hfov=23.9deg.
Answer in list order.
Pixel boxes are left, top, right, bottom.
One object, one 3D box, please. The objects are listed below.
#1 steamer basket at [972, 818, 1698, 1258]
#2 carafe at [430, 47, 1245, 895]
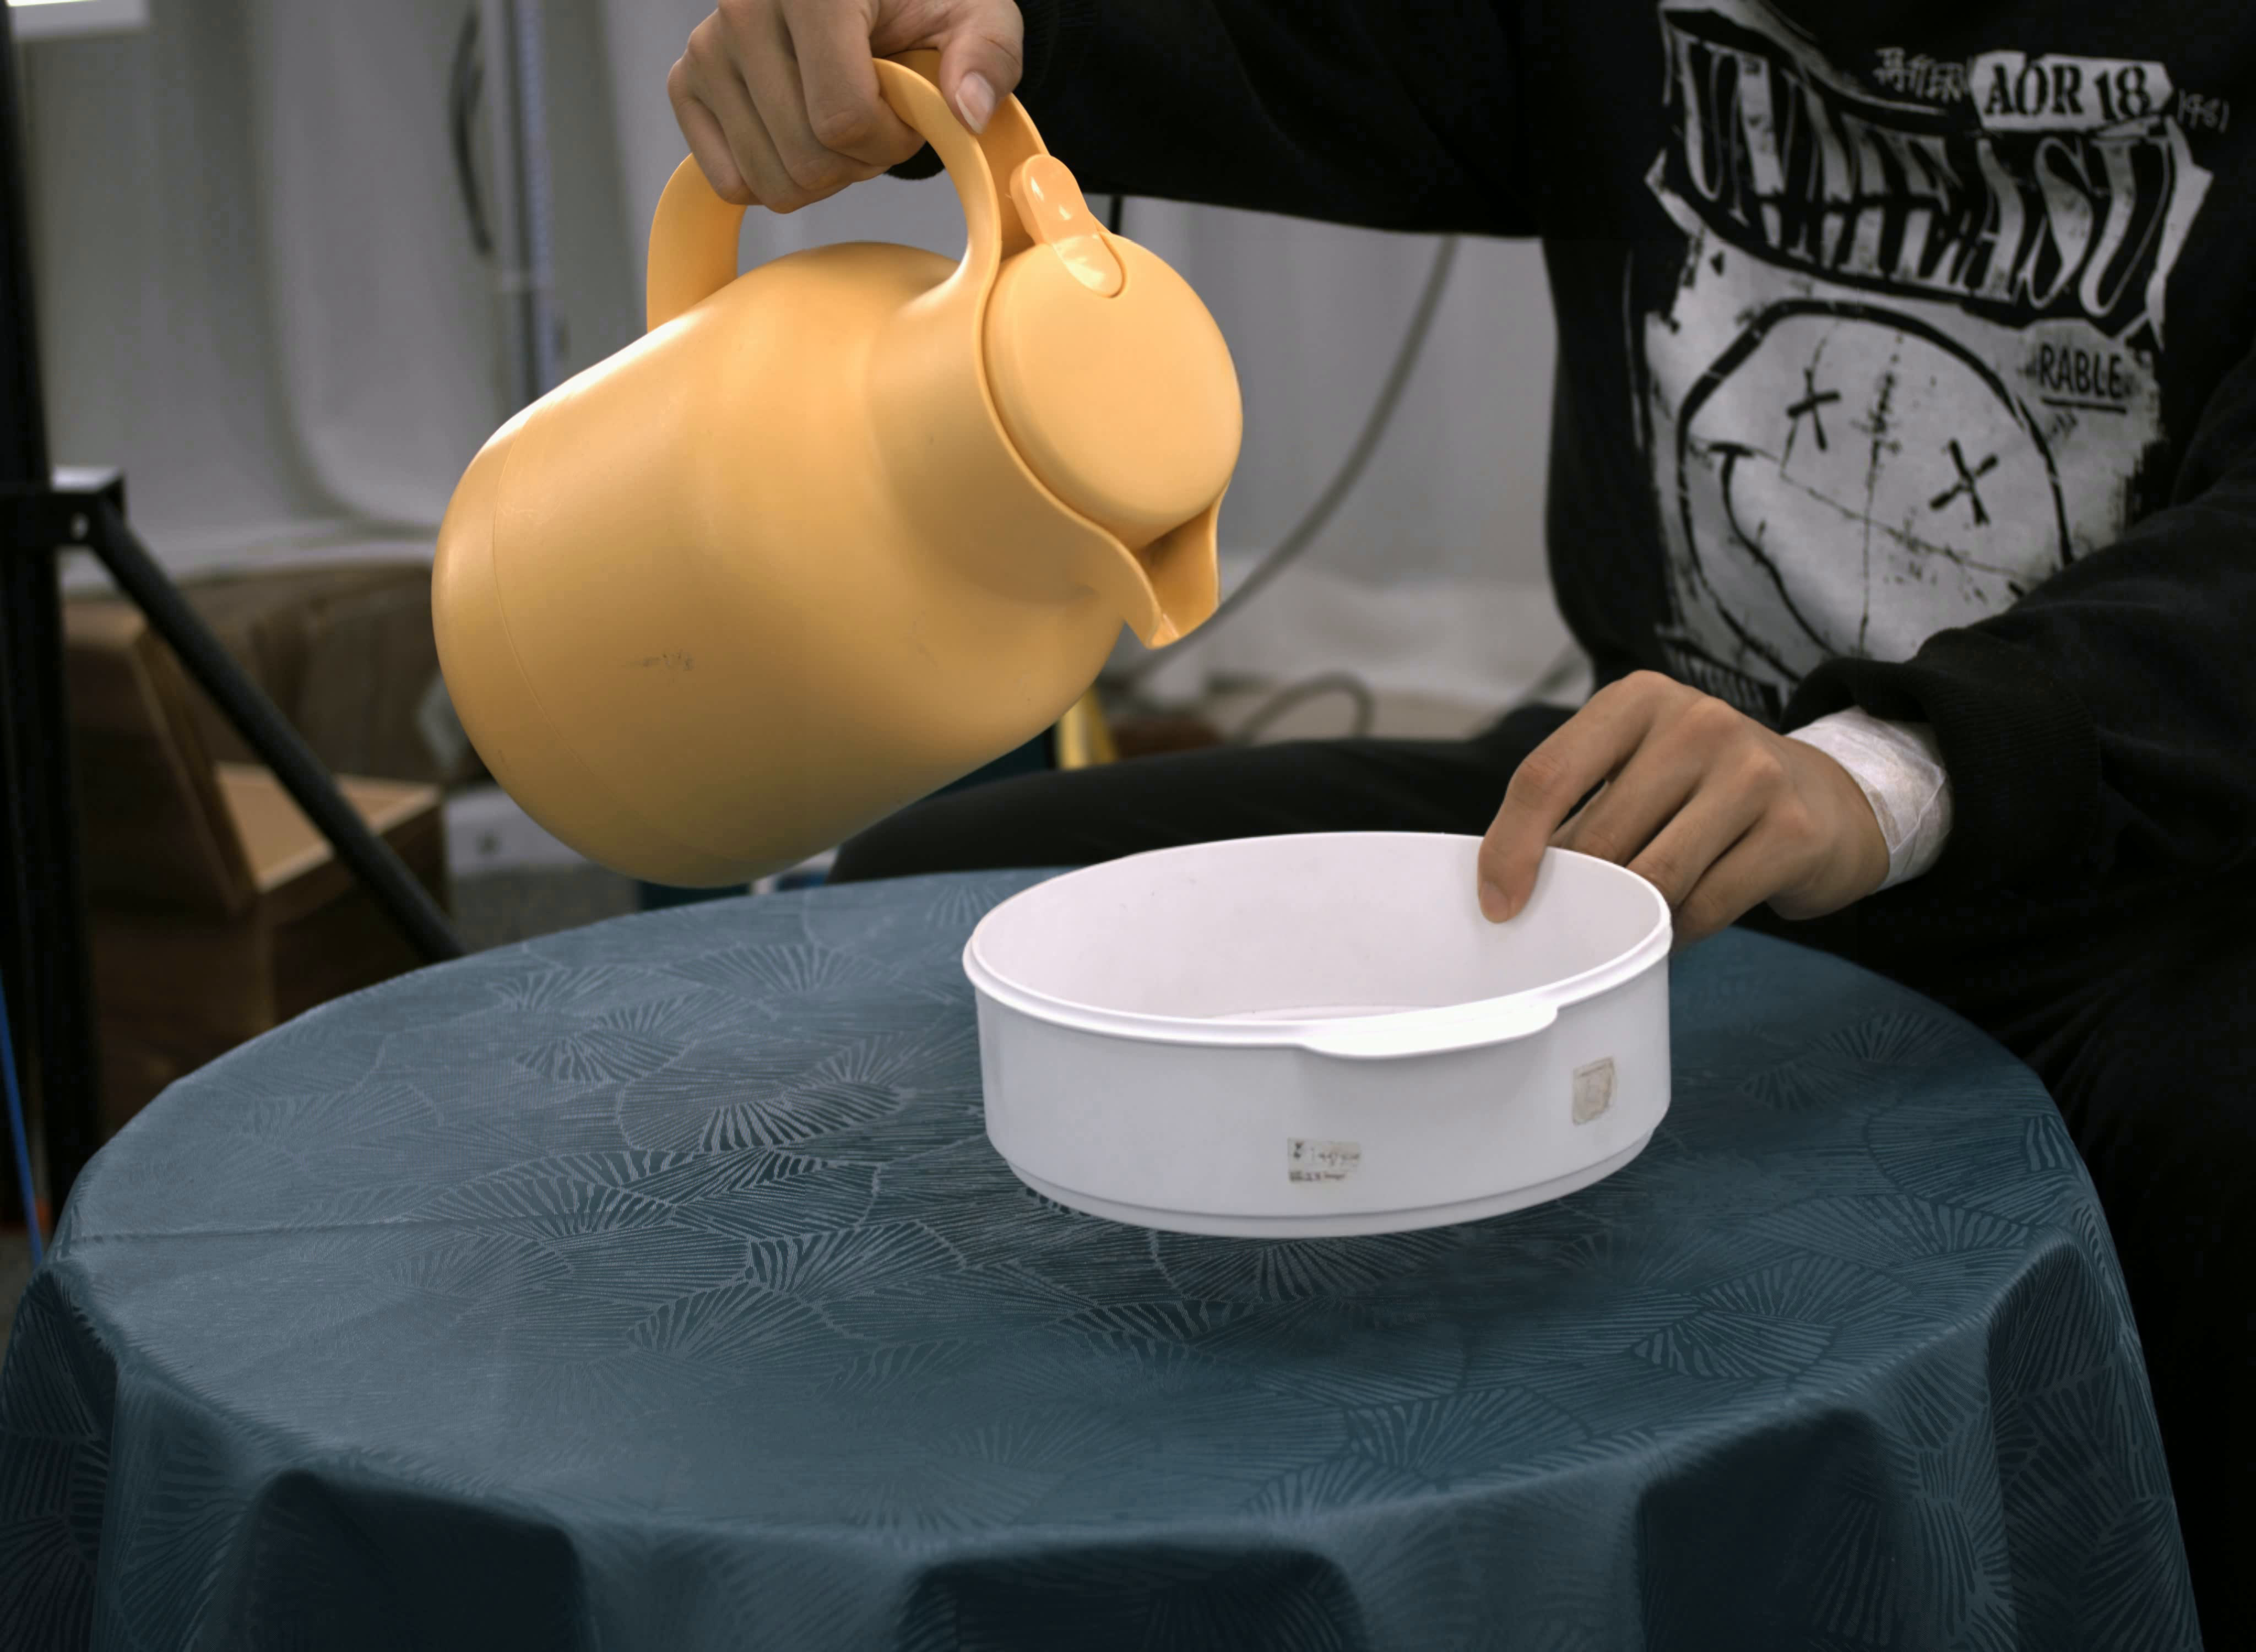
[{"bbox_3d":[0.058,0.058,1.479,0.199,0.069,0.234,-7,18,-14],"label":"steamer basket"},{"bbox_3d":[-0.085,-0.106,1.573,0.159,0.204,0.264,-12,-10,-46],"label":"carafe"}]
